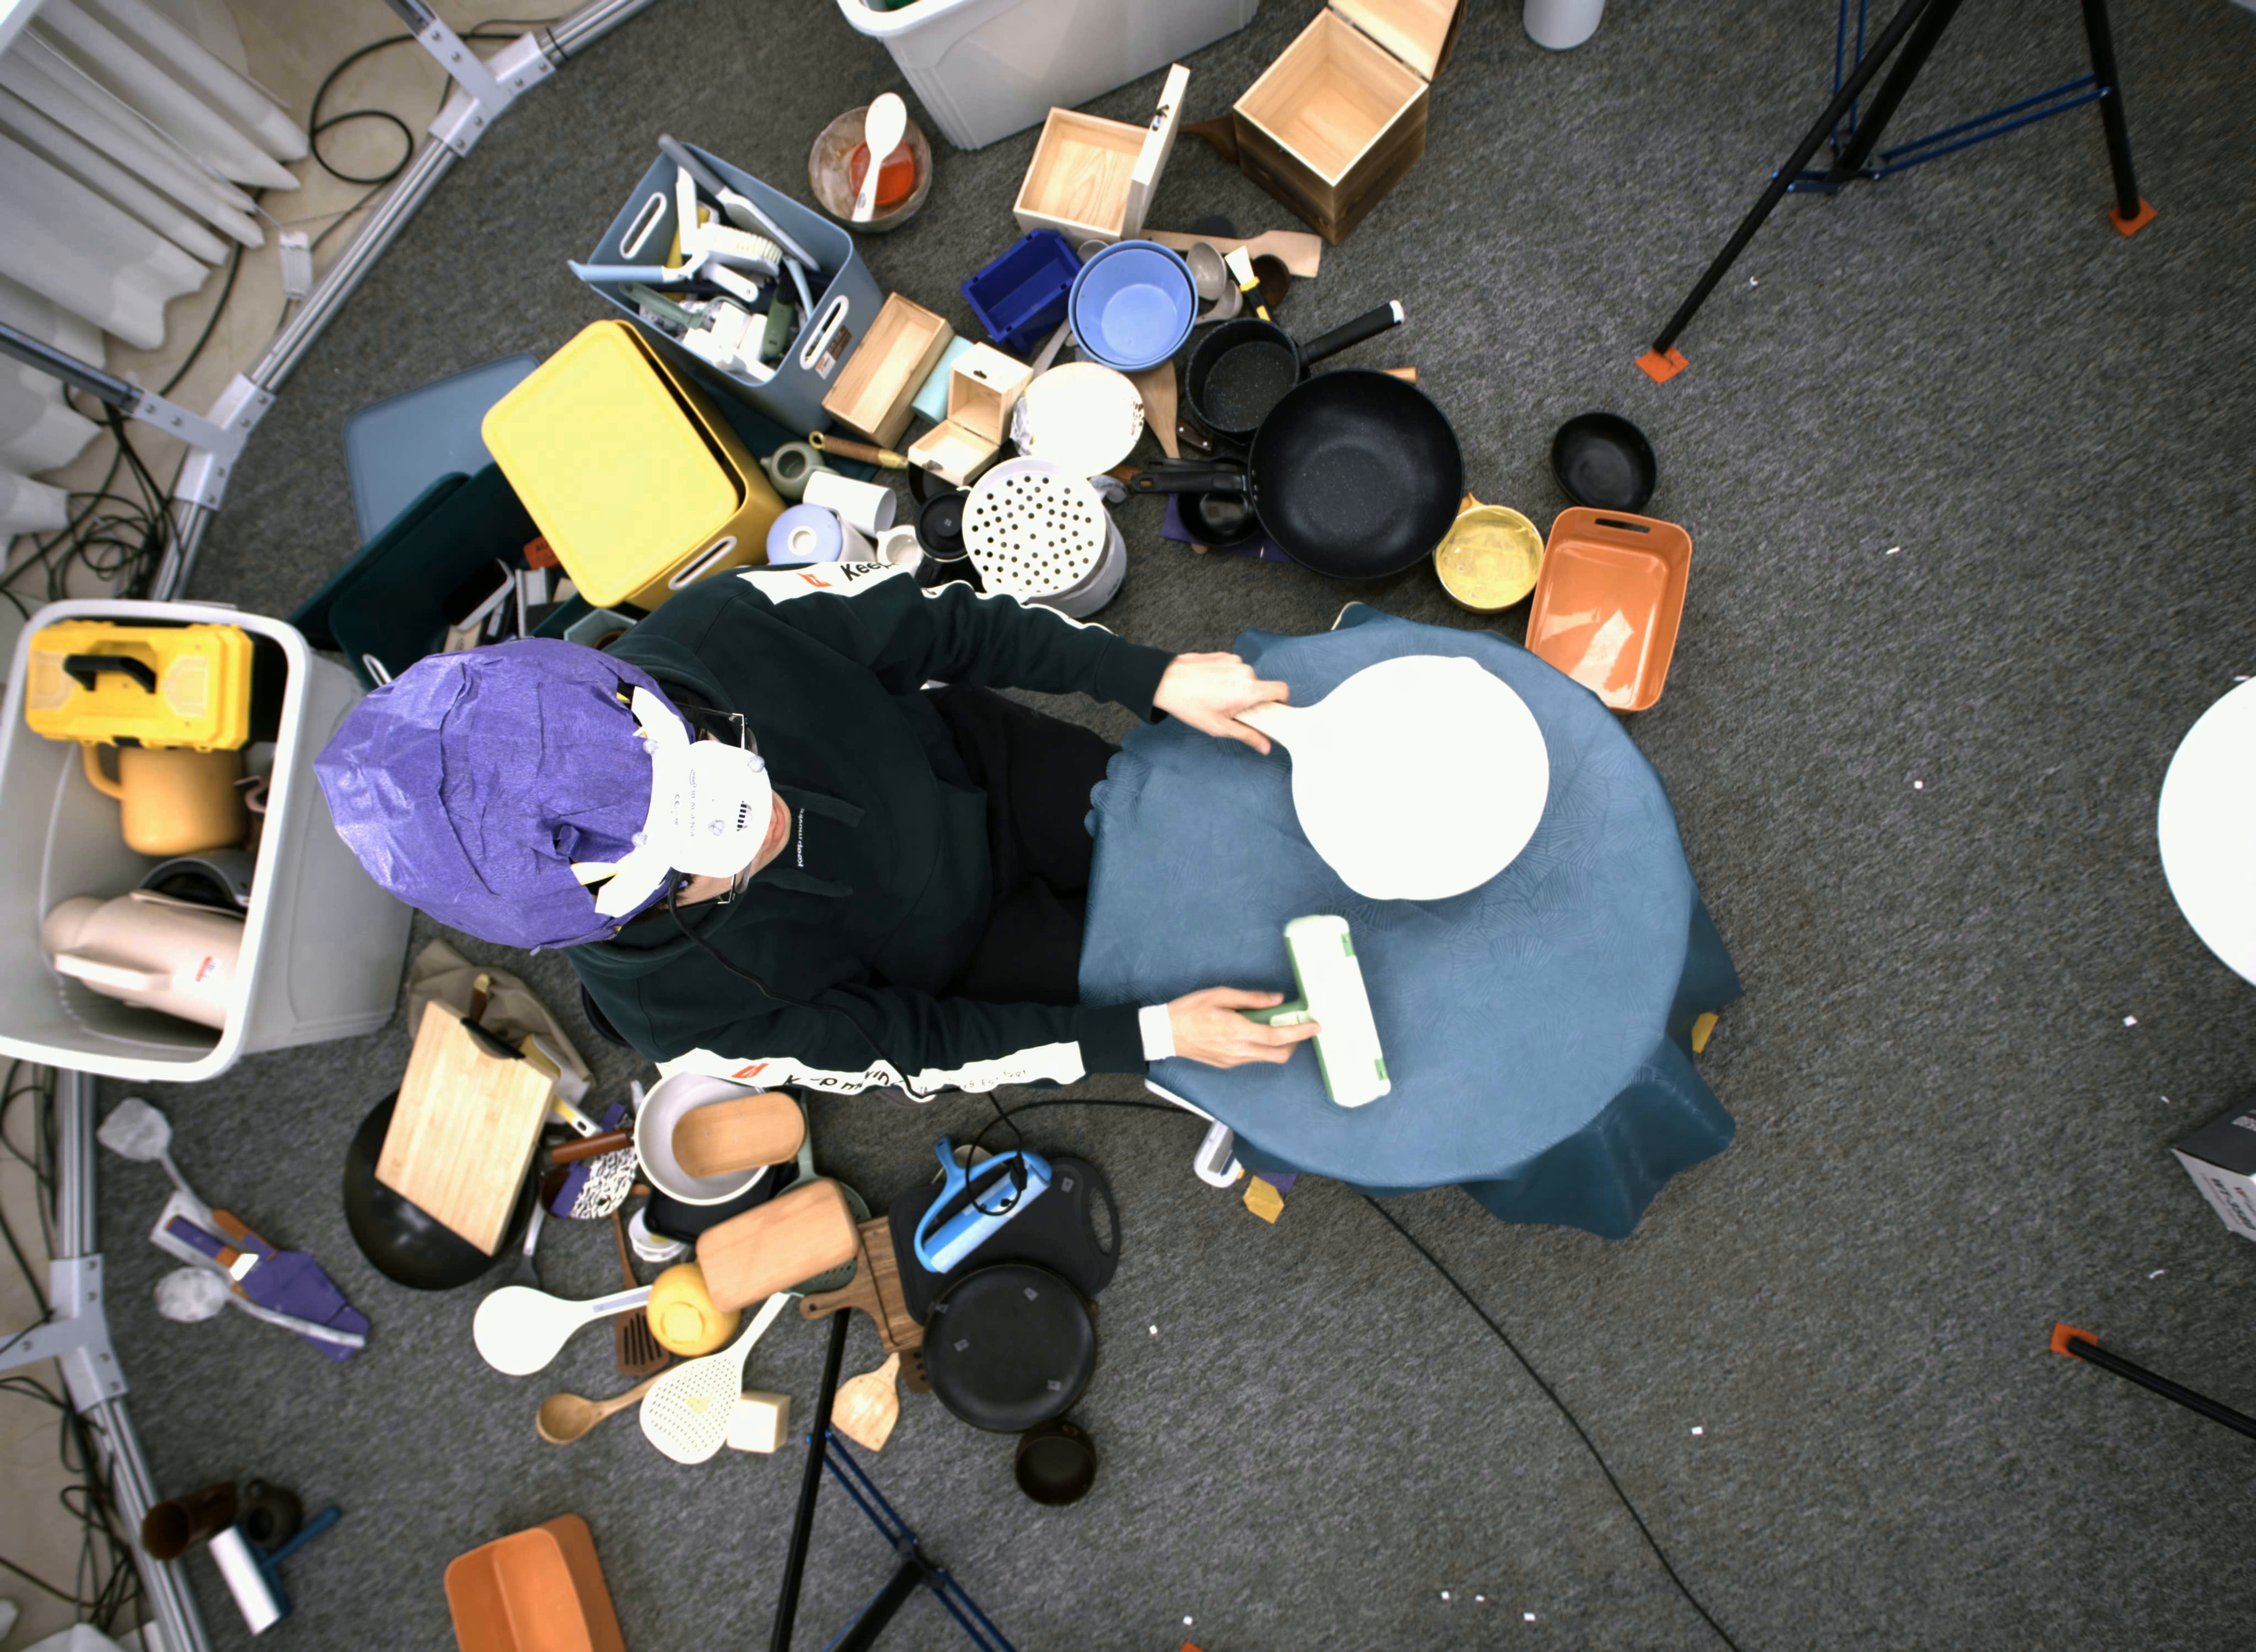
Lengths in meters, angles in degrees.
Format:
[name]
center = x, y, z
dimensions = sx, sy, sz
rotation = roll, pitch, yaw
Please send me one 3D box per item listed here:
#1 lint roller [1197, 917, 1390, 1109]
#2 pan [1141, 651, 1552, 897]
[lint roller]
center = 0.157, 0.203, 1.415
dimensions = 0.184, 0.081, 0.200
rotation = -13, 100, 11
[pan]
center = 0.220, -0.082, 1.423
dimensions = 0.434, 0.102, 0.263
rotation = 23, 89, 20
